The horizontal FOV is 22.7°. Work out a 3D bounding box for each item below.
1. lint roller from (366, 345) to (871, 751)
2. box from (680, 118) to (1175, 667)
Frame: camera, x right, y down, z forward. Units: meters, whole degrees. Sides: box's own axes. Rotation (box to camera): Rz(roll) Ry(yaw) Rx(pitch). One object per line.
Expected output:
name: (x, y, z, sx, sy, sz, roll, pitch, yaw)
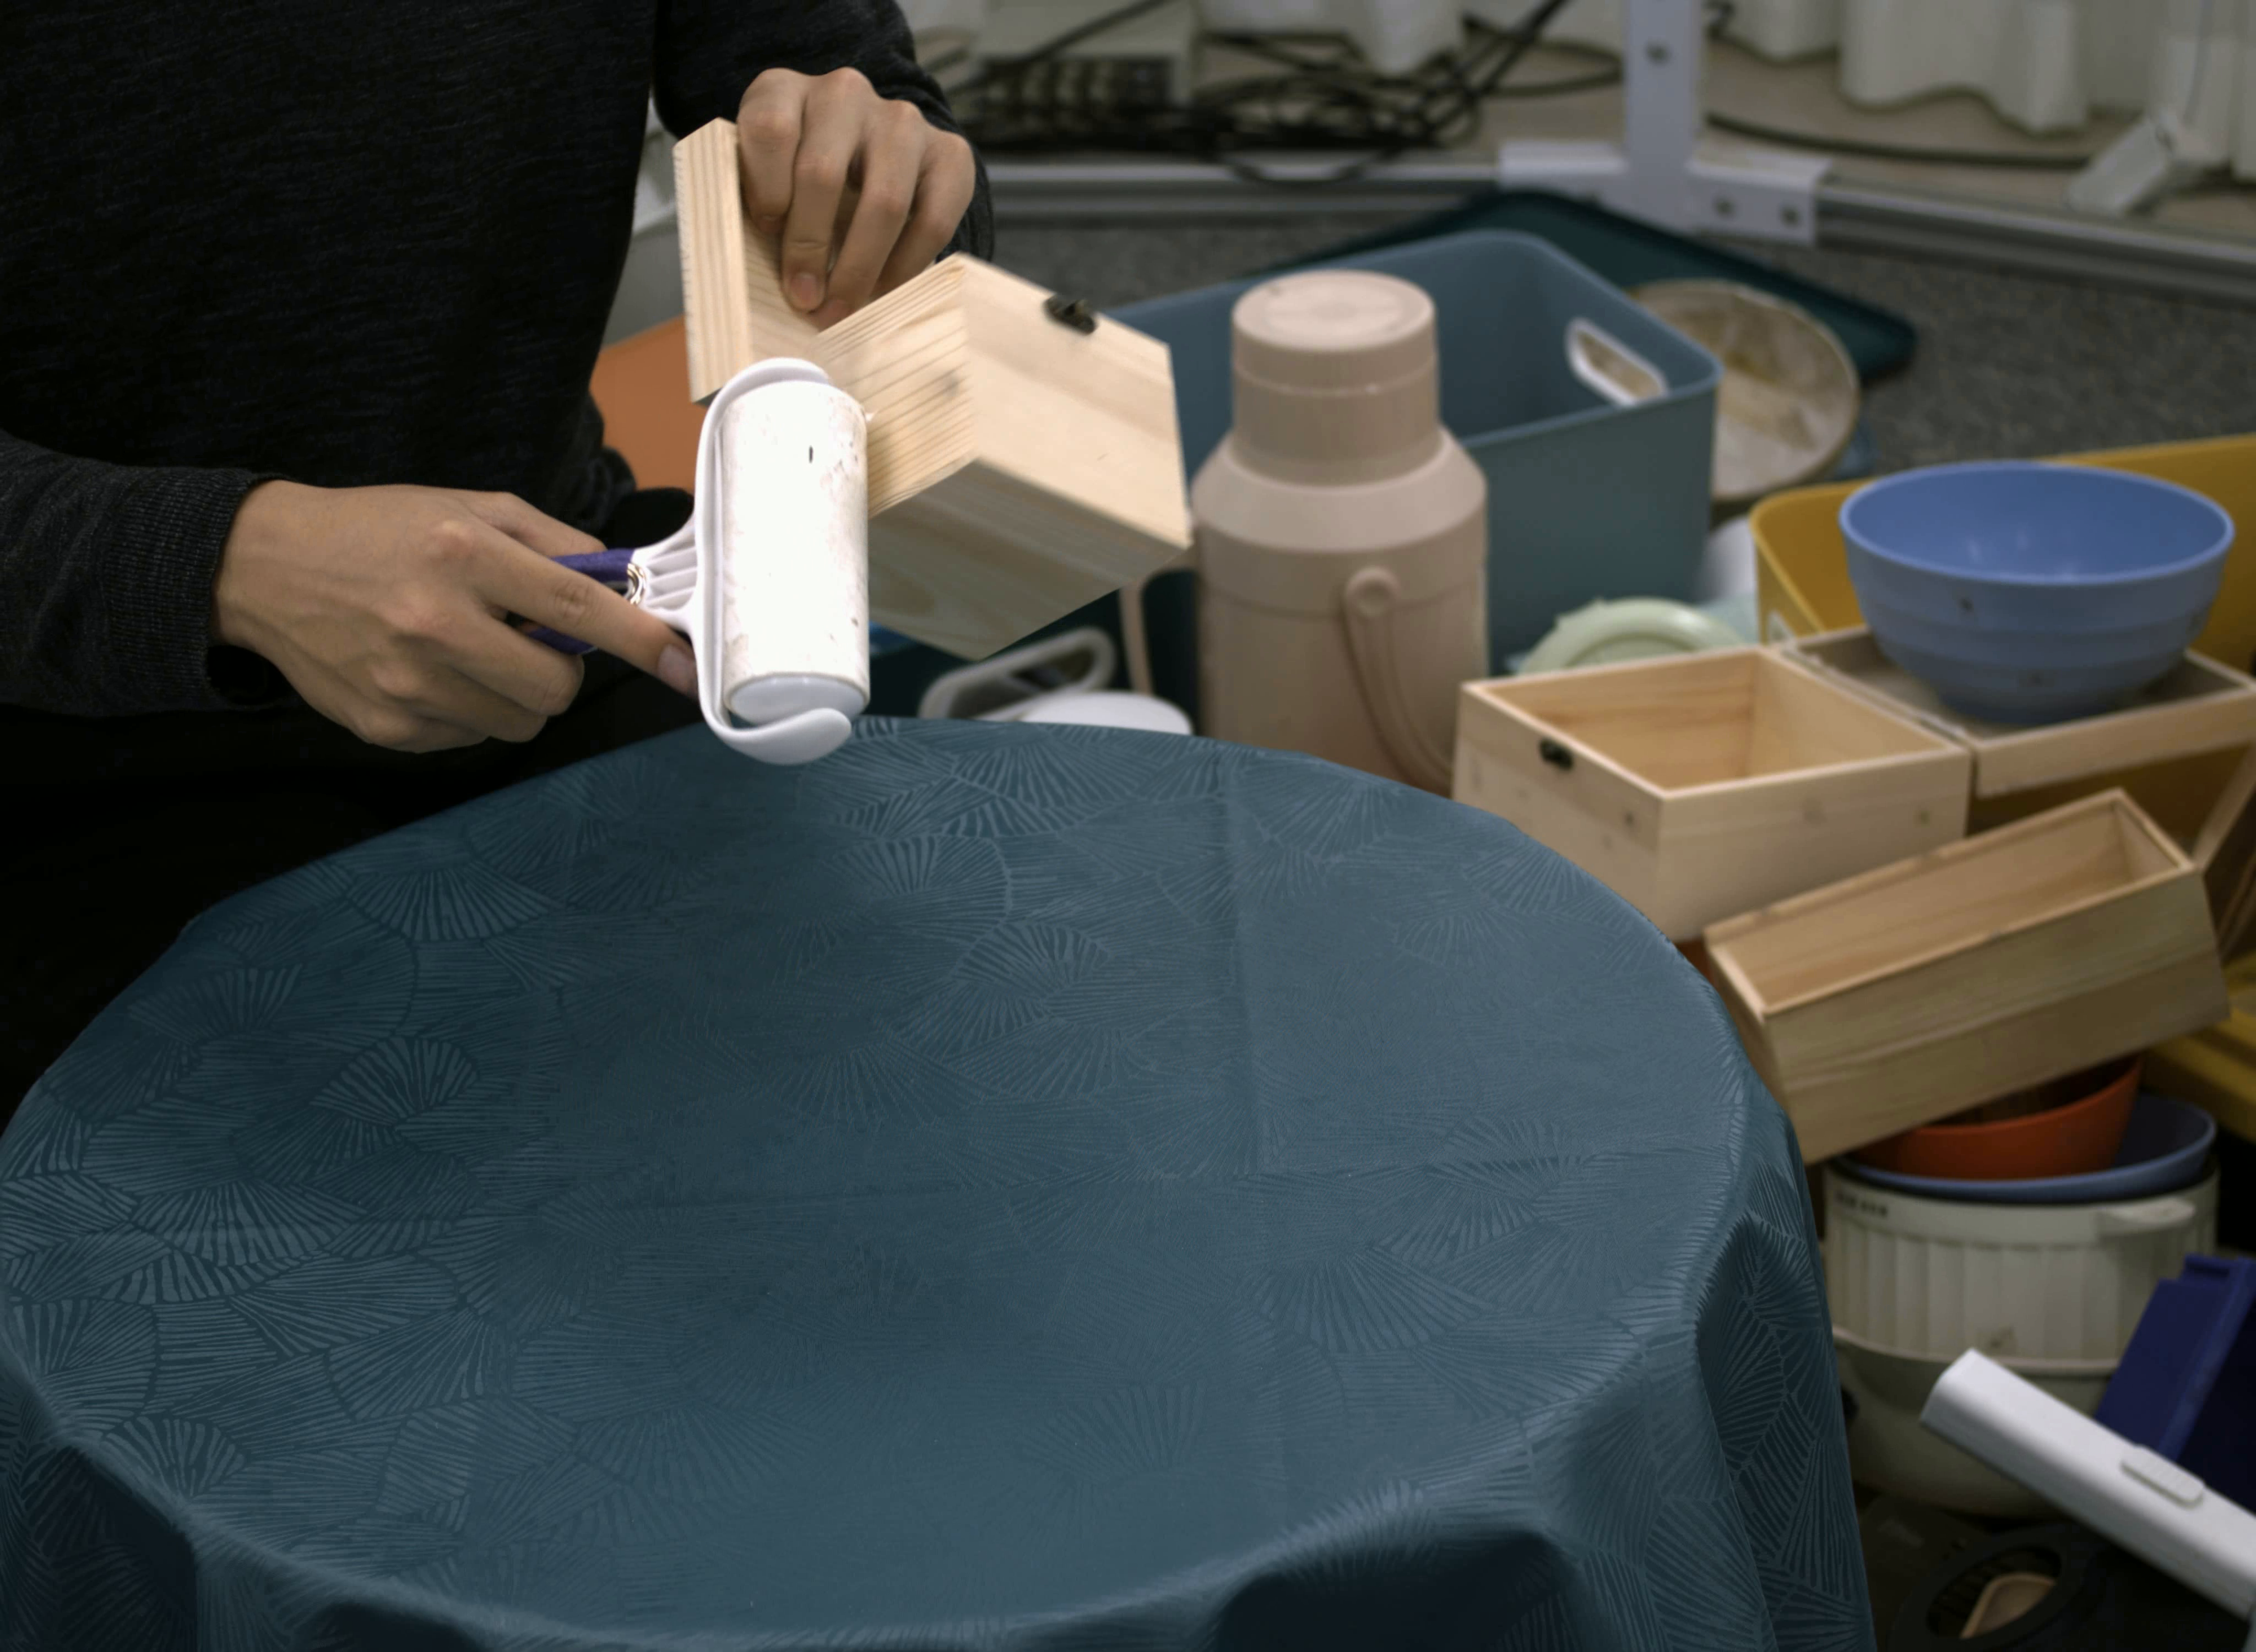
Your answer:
lint roller: (-0.167, -0.082, 1.800, 0.179, 0.050, 0.135, -6, 66, 15)
box: (-0.068, -0.163, 1.886, 0.132, 0.188, 0.102, -27, -34, 36)
